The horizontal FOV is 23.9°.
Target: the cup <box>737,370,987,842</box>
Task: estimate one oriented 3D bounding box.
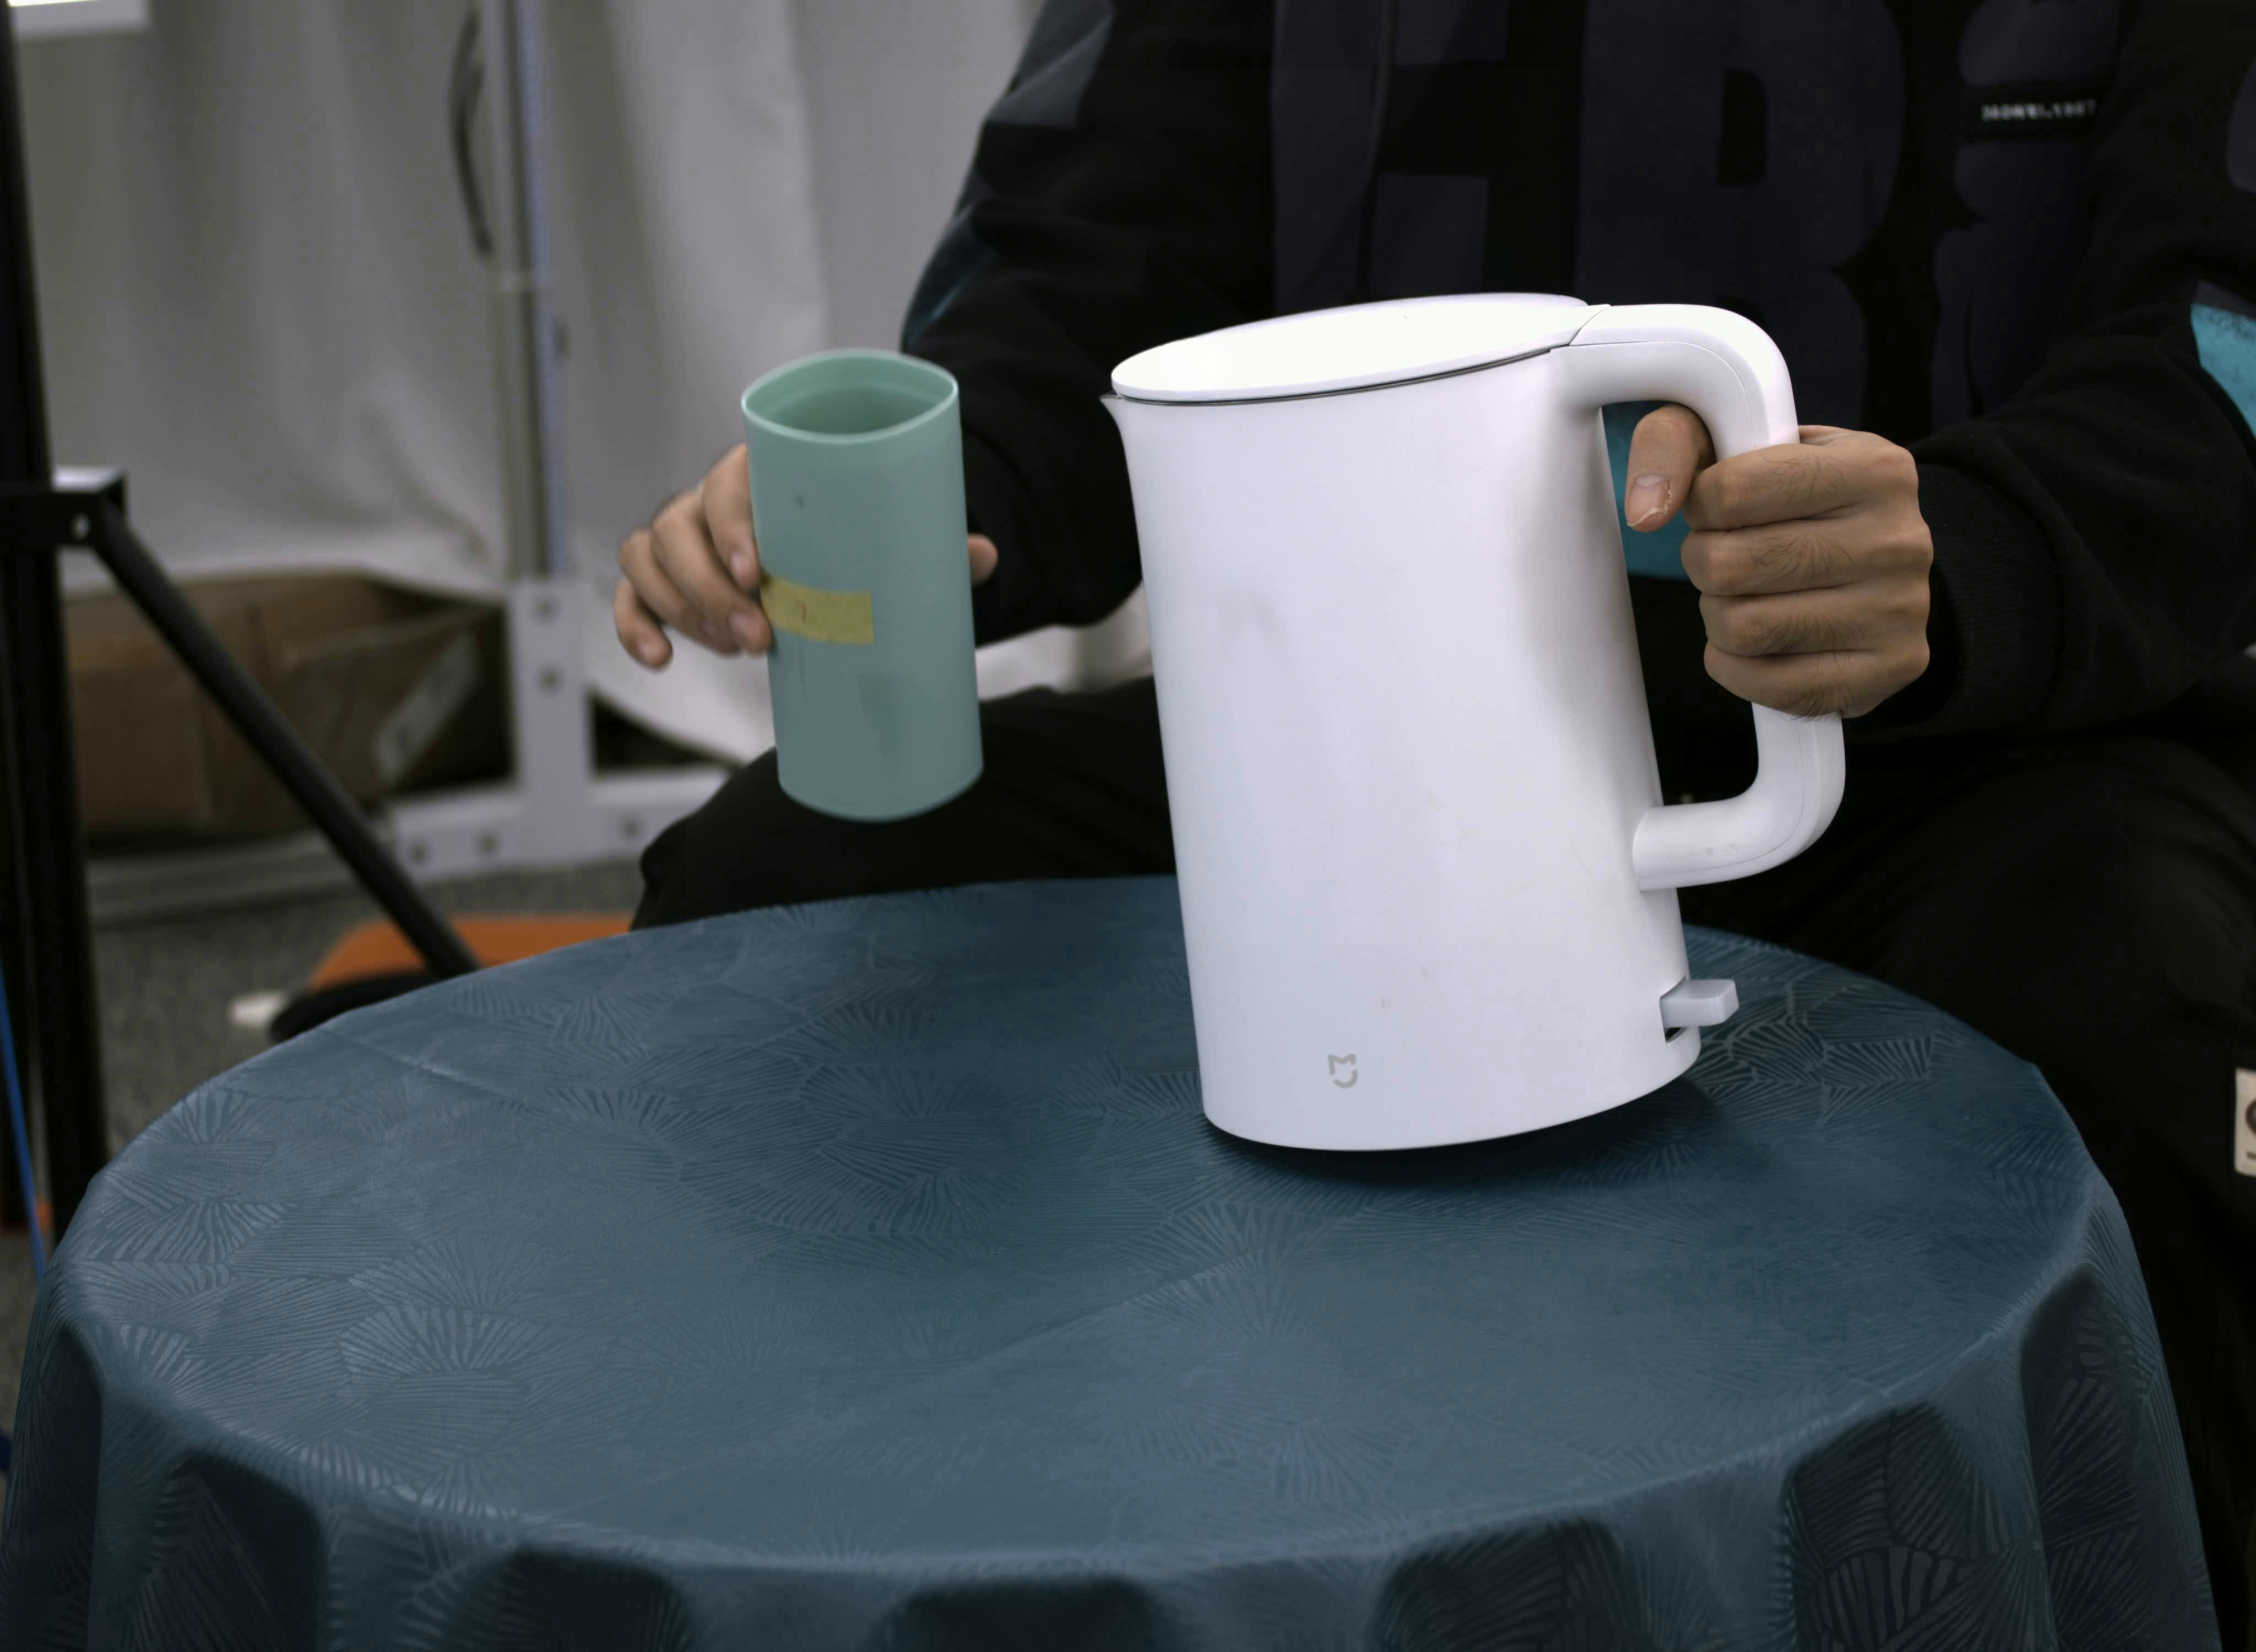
[{"bbox_3d":[-0.080,-0.069,1.654,0.066,0.131,0.067,-5,27,1],"label":"cup"}]

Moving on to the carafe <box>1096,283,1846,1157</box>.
[{"bbox_3d":[0.105,-0.034,1.574,0.216,0.240,0.150,-4,13,27],"label":"carafe"}]
